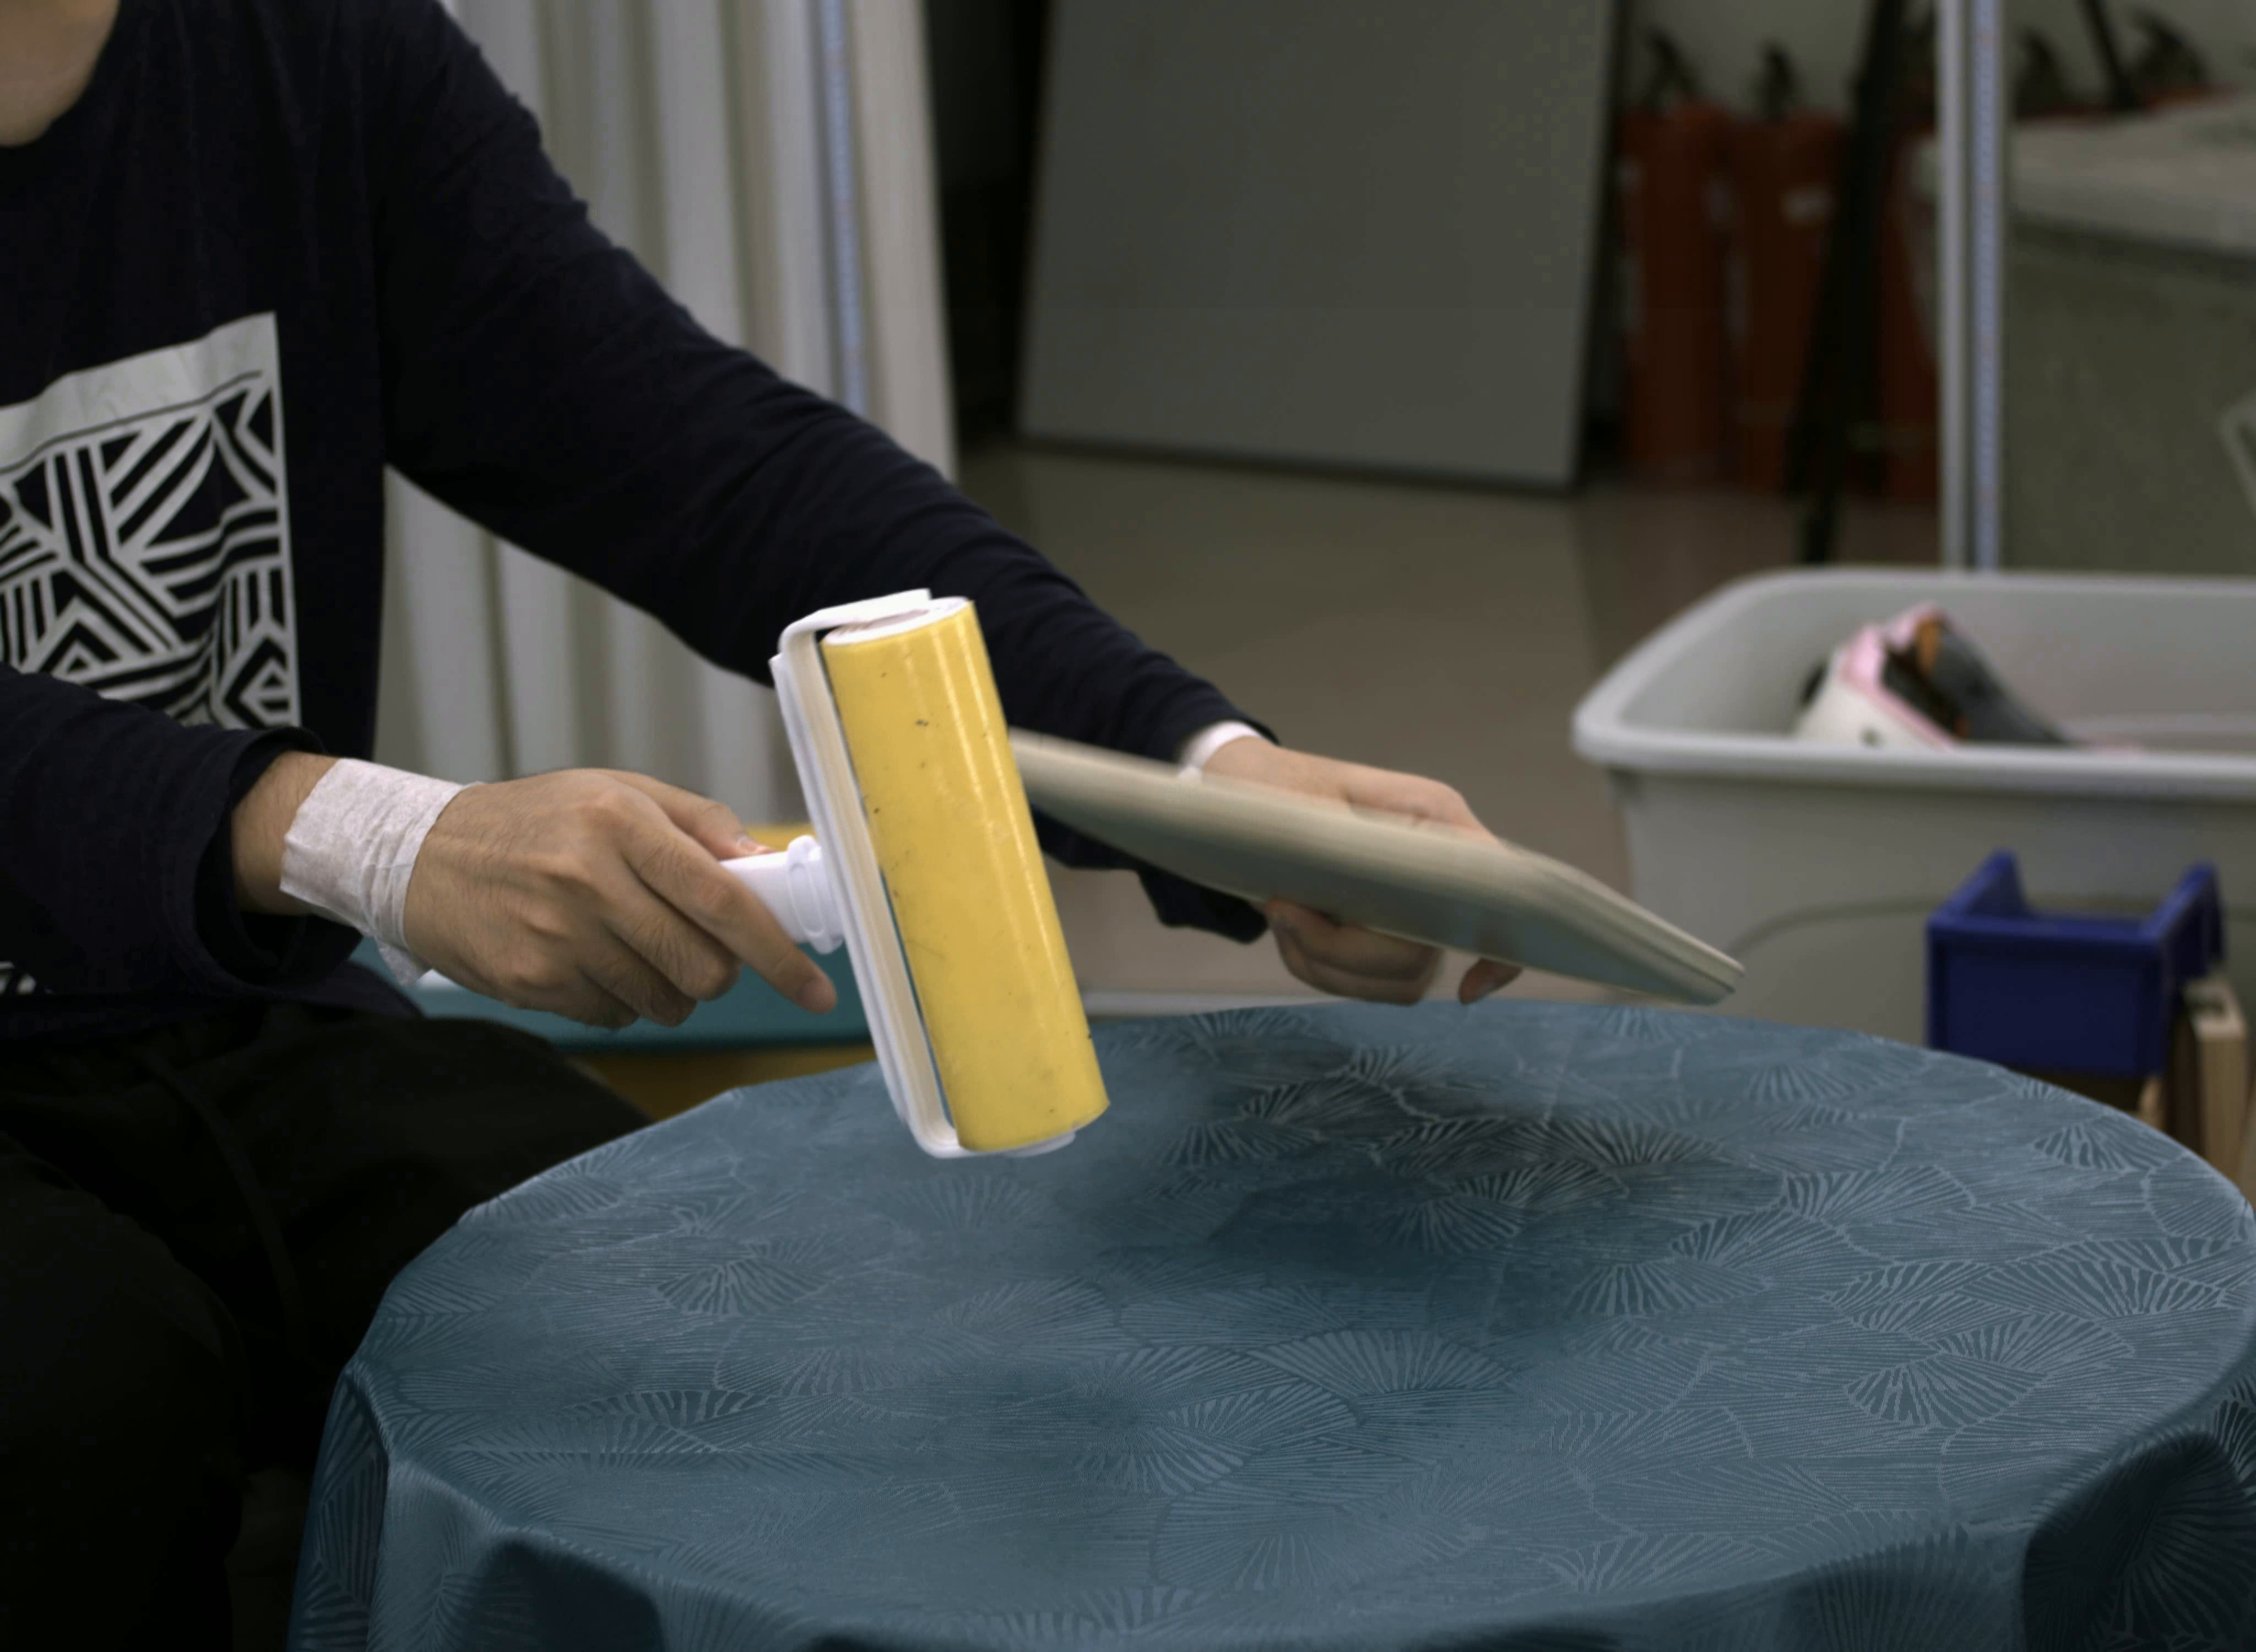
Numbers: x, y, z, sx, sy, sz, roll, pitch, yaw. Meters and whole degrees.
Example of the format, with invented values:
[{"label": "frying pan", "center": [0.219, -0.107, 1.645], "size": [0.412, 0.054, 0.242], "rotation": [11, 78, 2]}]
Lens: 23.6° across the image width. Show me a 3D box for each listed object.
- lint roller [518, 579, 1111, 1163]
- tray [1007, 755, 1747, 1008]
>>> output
[{"label": "lint roller", "center": [-0.111, 0.027, 1.635], "size": [0.192, 0.176, 0.051], "rotation": [-13, 9, 25]}, {"label": "tray", "center": [0.074, 0.020, 1.770], "size": [0.241, 0.017, 0.168], "rotation": [12, -7, 38]}]
